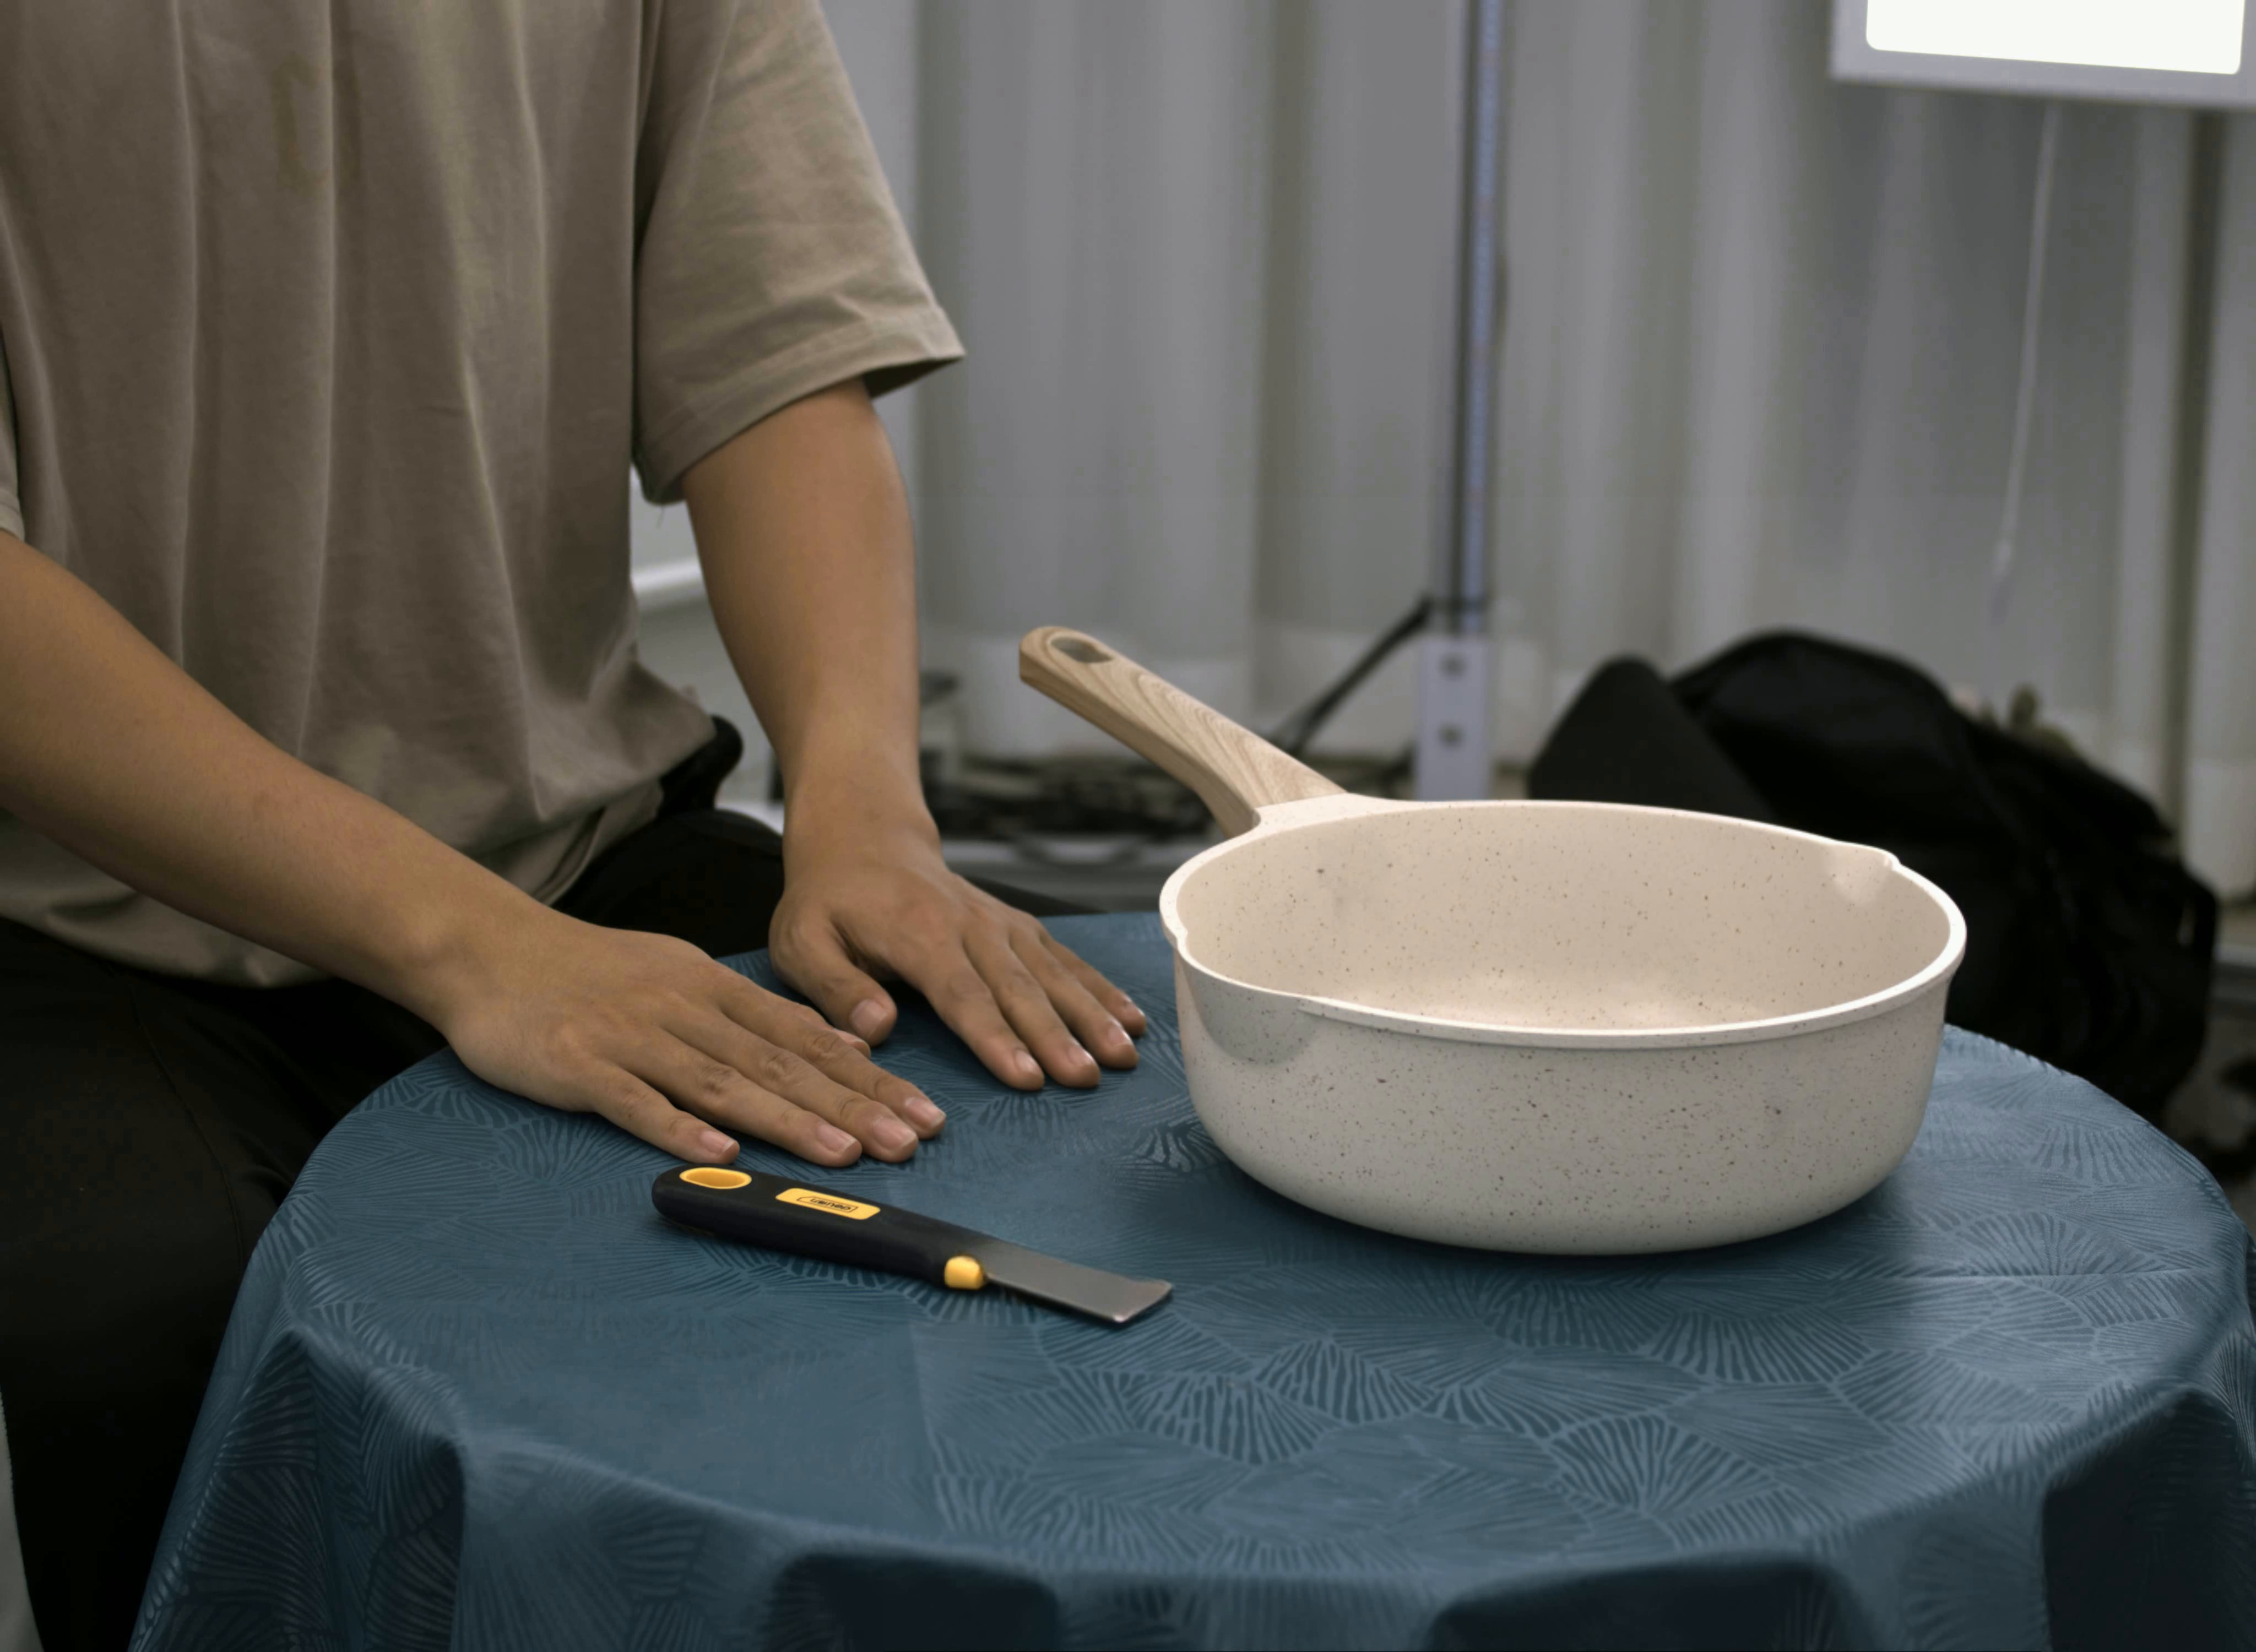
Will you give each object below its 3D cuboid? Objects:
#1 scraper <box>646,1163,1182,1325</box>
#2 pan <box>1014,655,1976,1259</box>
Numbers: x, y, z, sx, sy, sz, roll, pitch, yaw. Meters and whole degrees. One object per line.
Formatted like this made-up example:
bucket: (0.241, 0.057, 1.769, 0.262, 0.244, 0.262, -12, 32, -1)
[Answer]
scraper: (-0.067, 0.123, 1.555, 0.169, 0.015, 0.039, 11, 24, 24)
pan: (0.089, 0.037, 1.727, 0.264, 0.103, 0.429, -12, 20, -31)
